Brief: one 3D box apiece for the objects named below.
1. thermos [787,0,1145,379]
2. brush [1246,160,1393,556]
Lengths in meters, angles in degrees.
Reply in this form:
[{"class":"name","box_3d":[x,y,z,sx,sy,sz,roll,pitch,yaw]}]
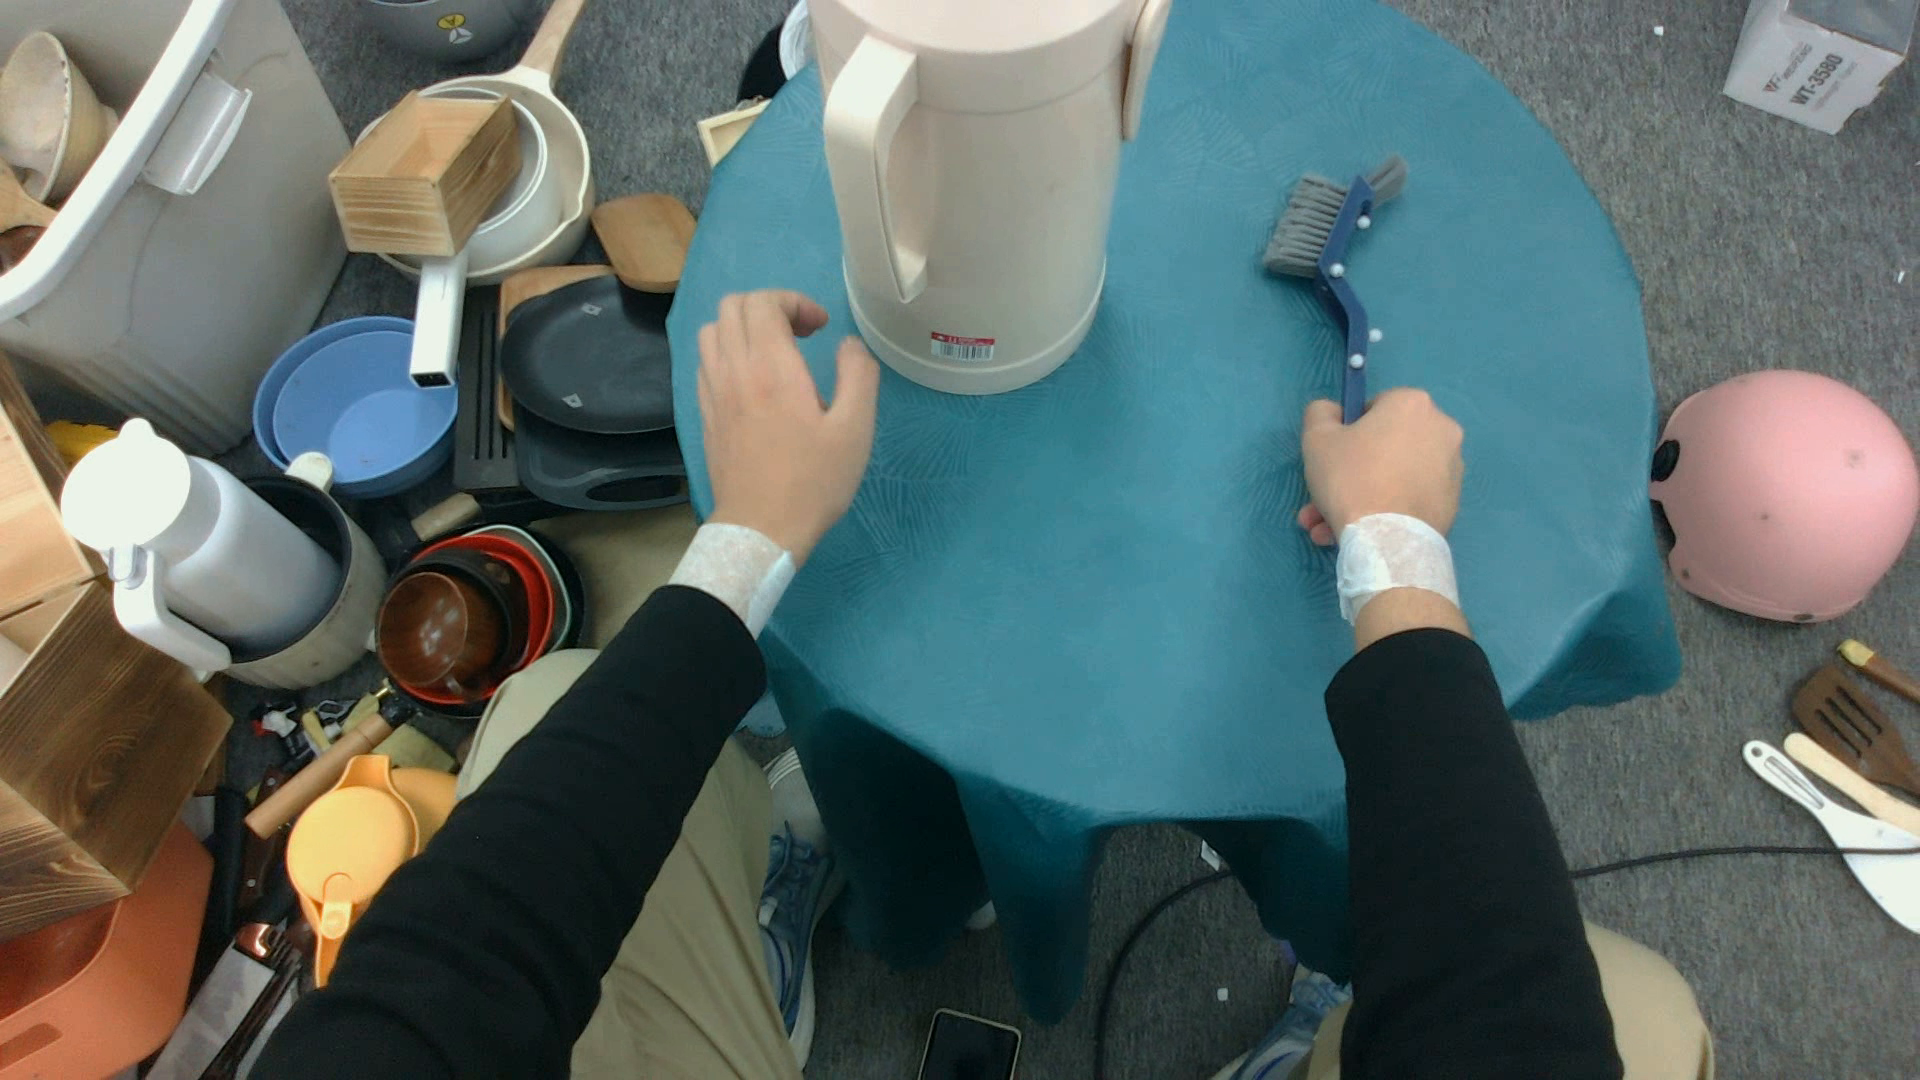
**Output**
[{"class":"thermos","box_3d":[-0.011,-0.227,0.669,0.175,0.405,0.208,26,70,7]},{"class":"brush","box_3d":[0.224,-0.117,0.814,0.095,0.033,0.274,-3,60,7]}]
